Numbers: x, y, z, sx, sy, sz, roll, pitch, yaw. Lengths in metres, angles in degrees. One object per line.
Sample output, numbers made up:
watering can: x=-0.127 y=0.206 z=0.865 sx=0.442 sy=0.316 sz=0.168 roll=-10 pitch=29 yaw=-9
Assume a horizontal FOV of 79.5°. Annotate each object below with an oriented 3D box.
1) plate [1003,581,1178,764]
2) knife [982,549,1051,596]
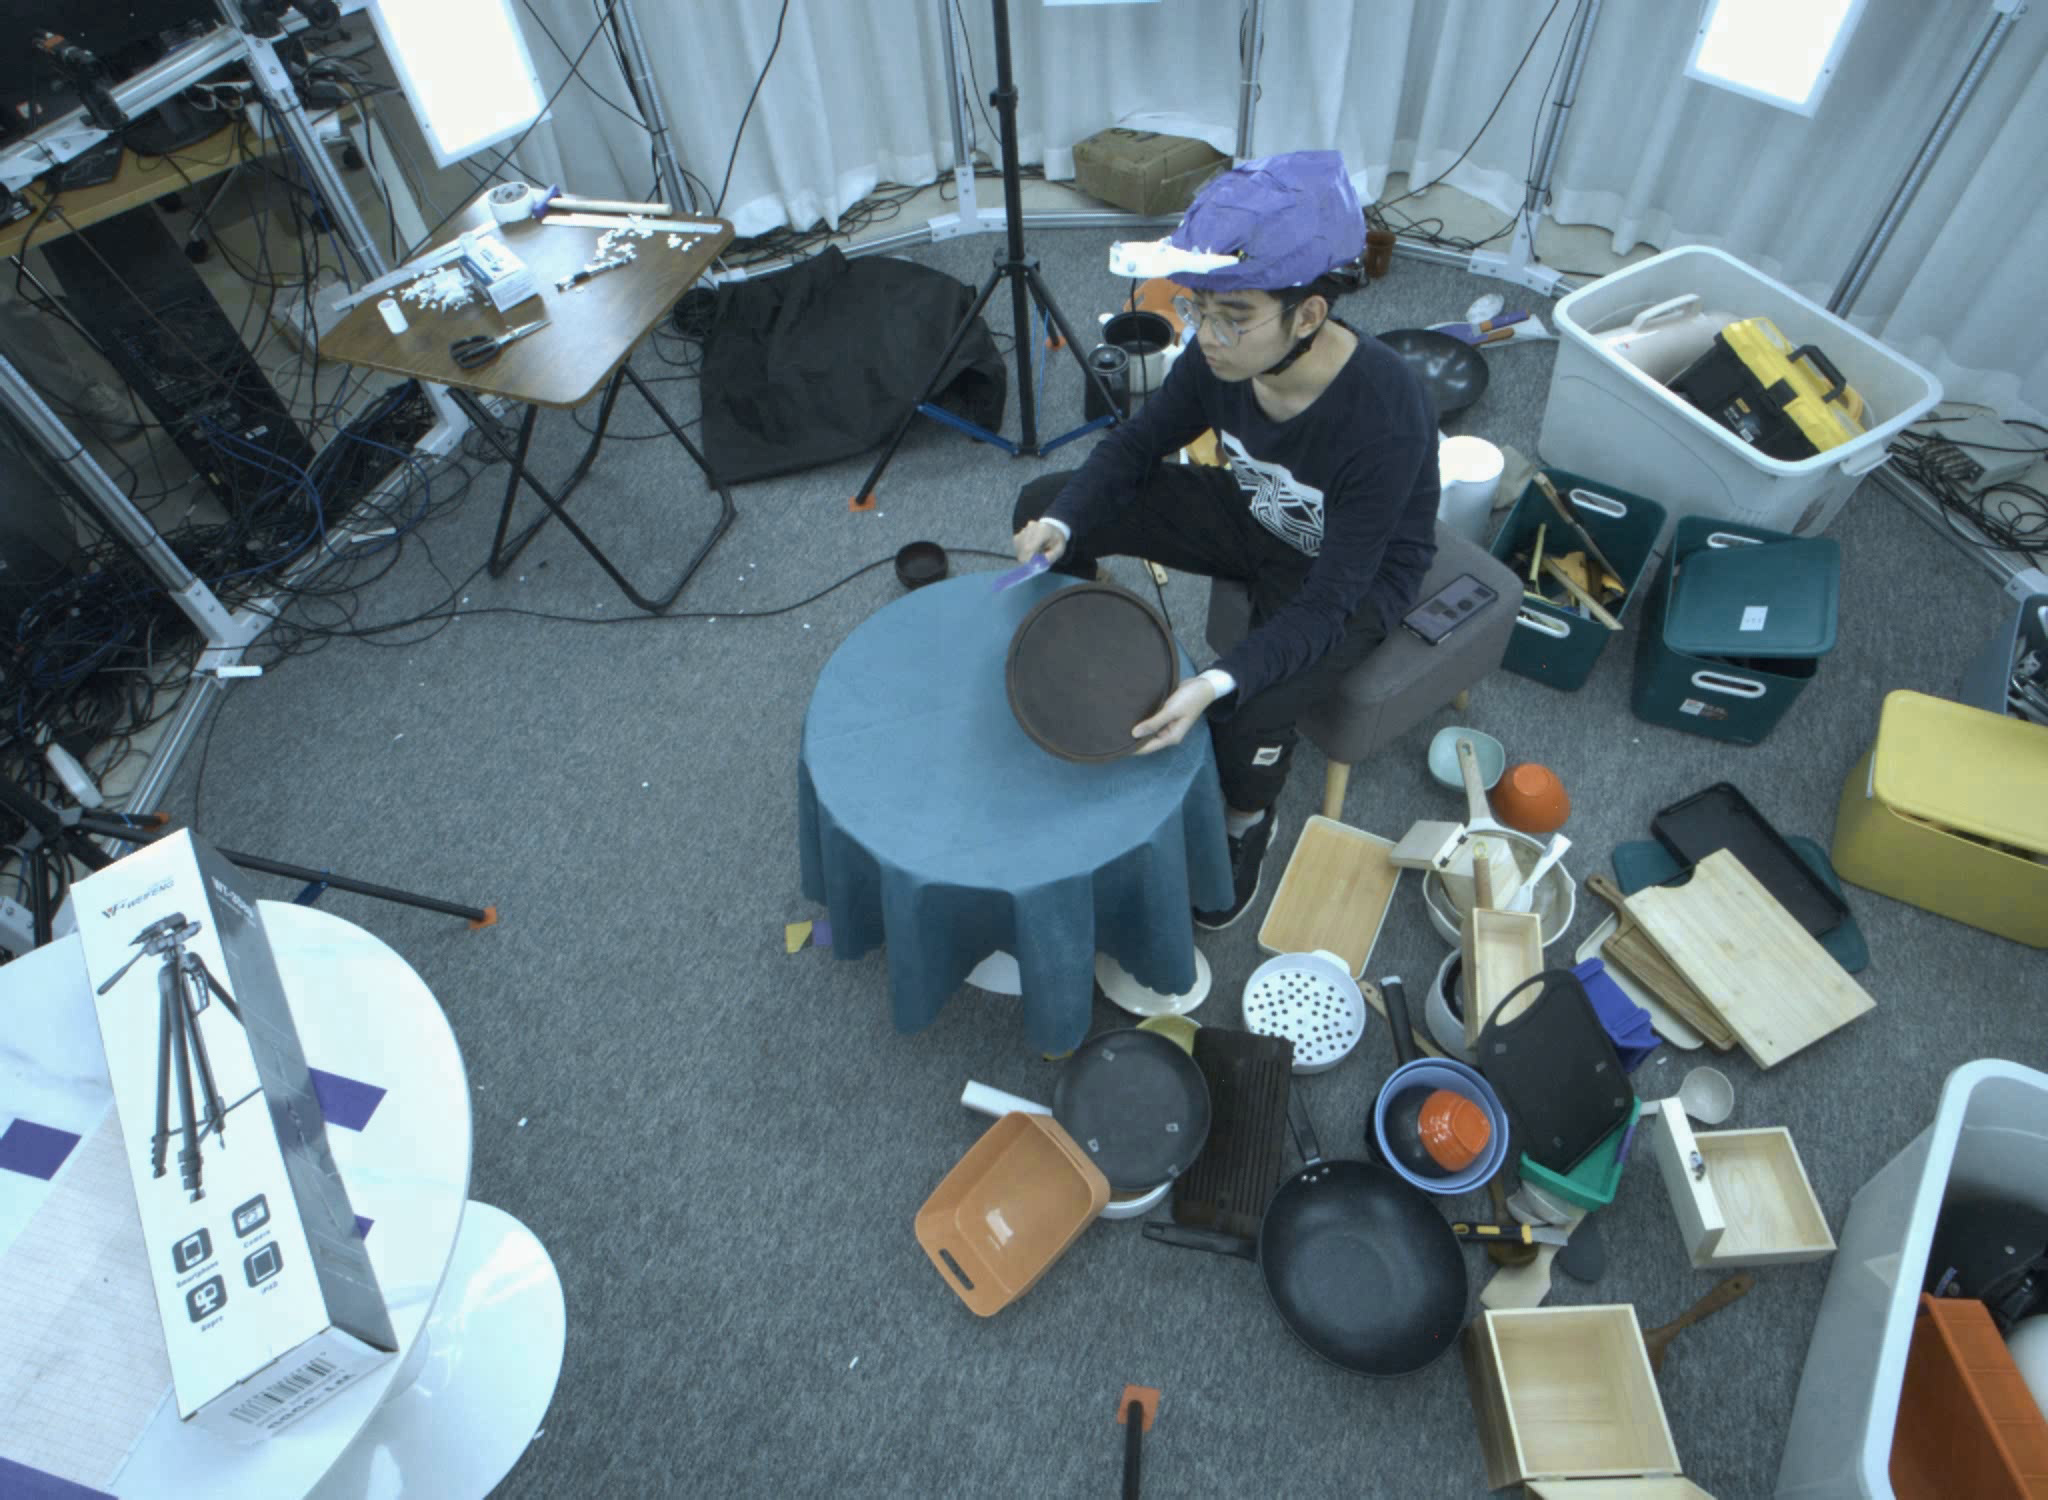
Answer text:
plate: x=0.093 y=-0.107 z=1.706 sx=0.256 sy=0.256 sz=0.028 roll=-21 pitch=13 yaw=-12
knife: x=-0.013 y=-0.264 z=1.812 sx=0.103 sy=0.313 sz=0.032 roll=-22 pitch=101 yaw=5
